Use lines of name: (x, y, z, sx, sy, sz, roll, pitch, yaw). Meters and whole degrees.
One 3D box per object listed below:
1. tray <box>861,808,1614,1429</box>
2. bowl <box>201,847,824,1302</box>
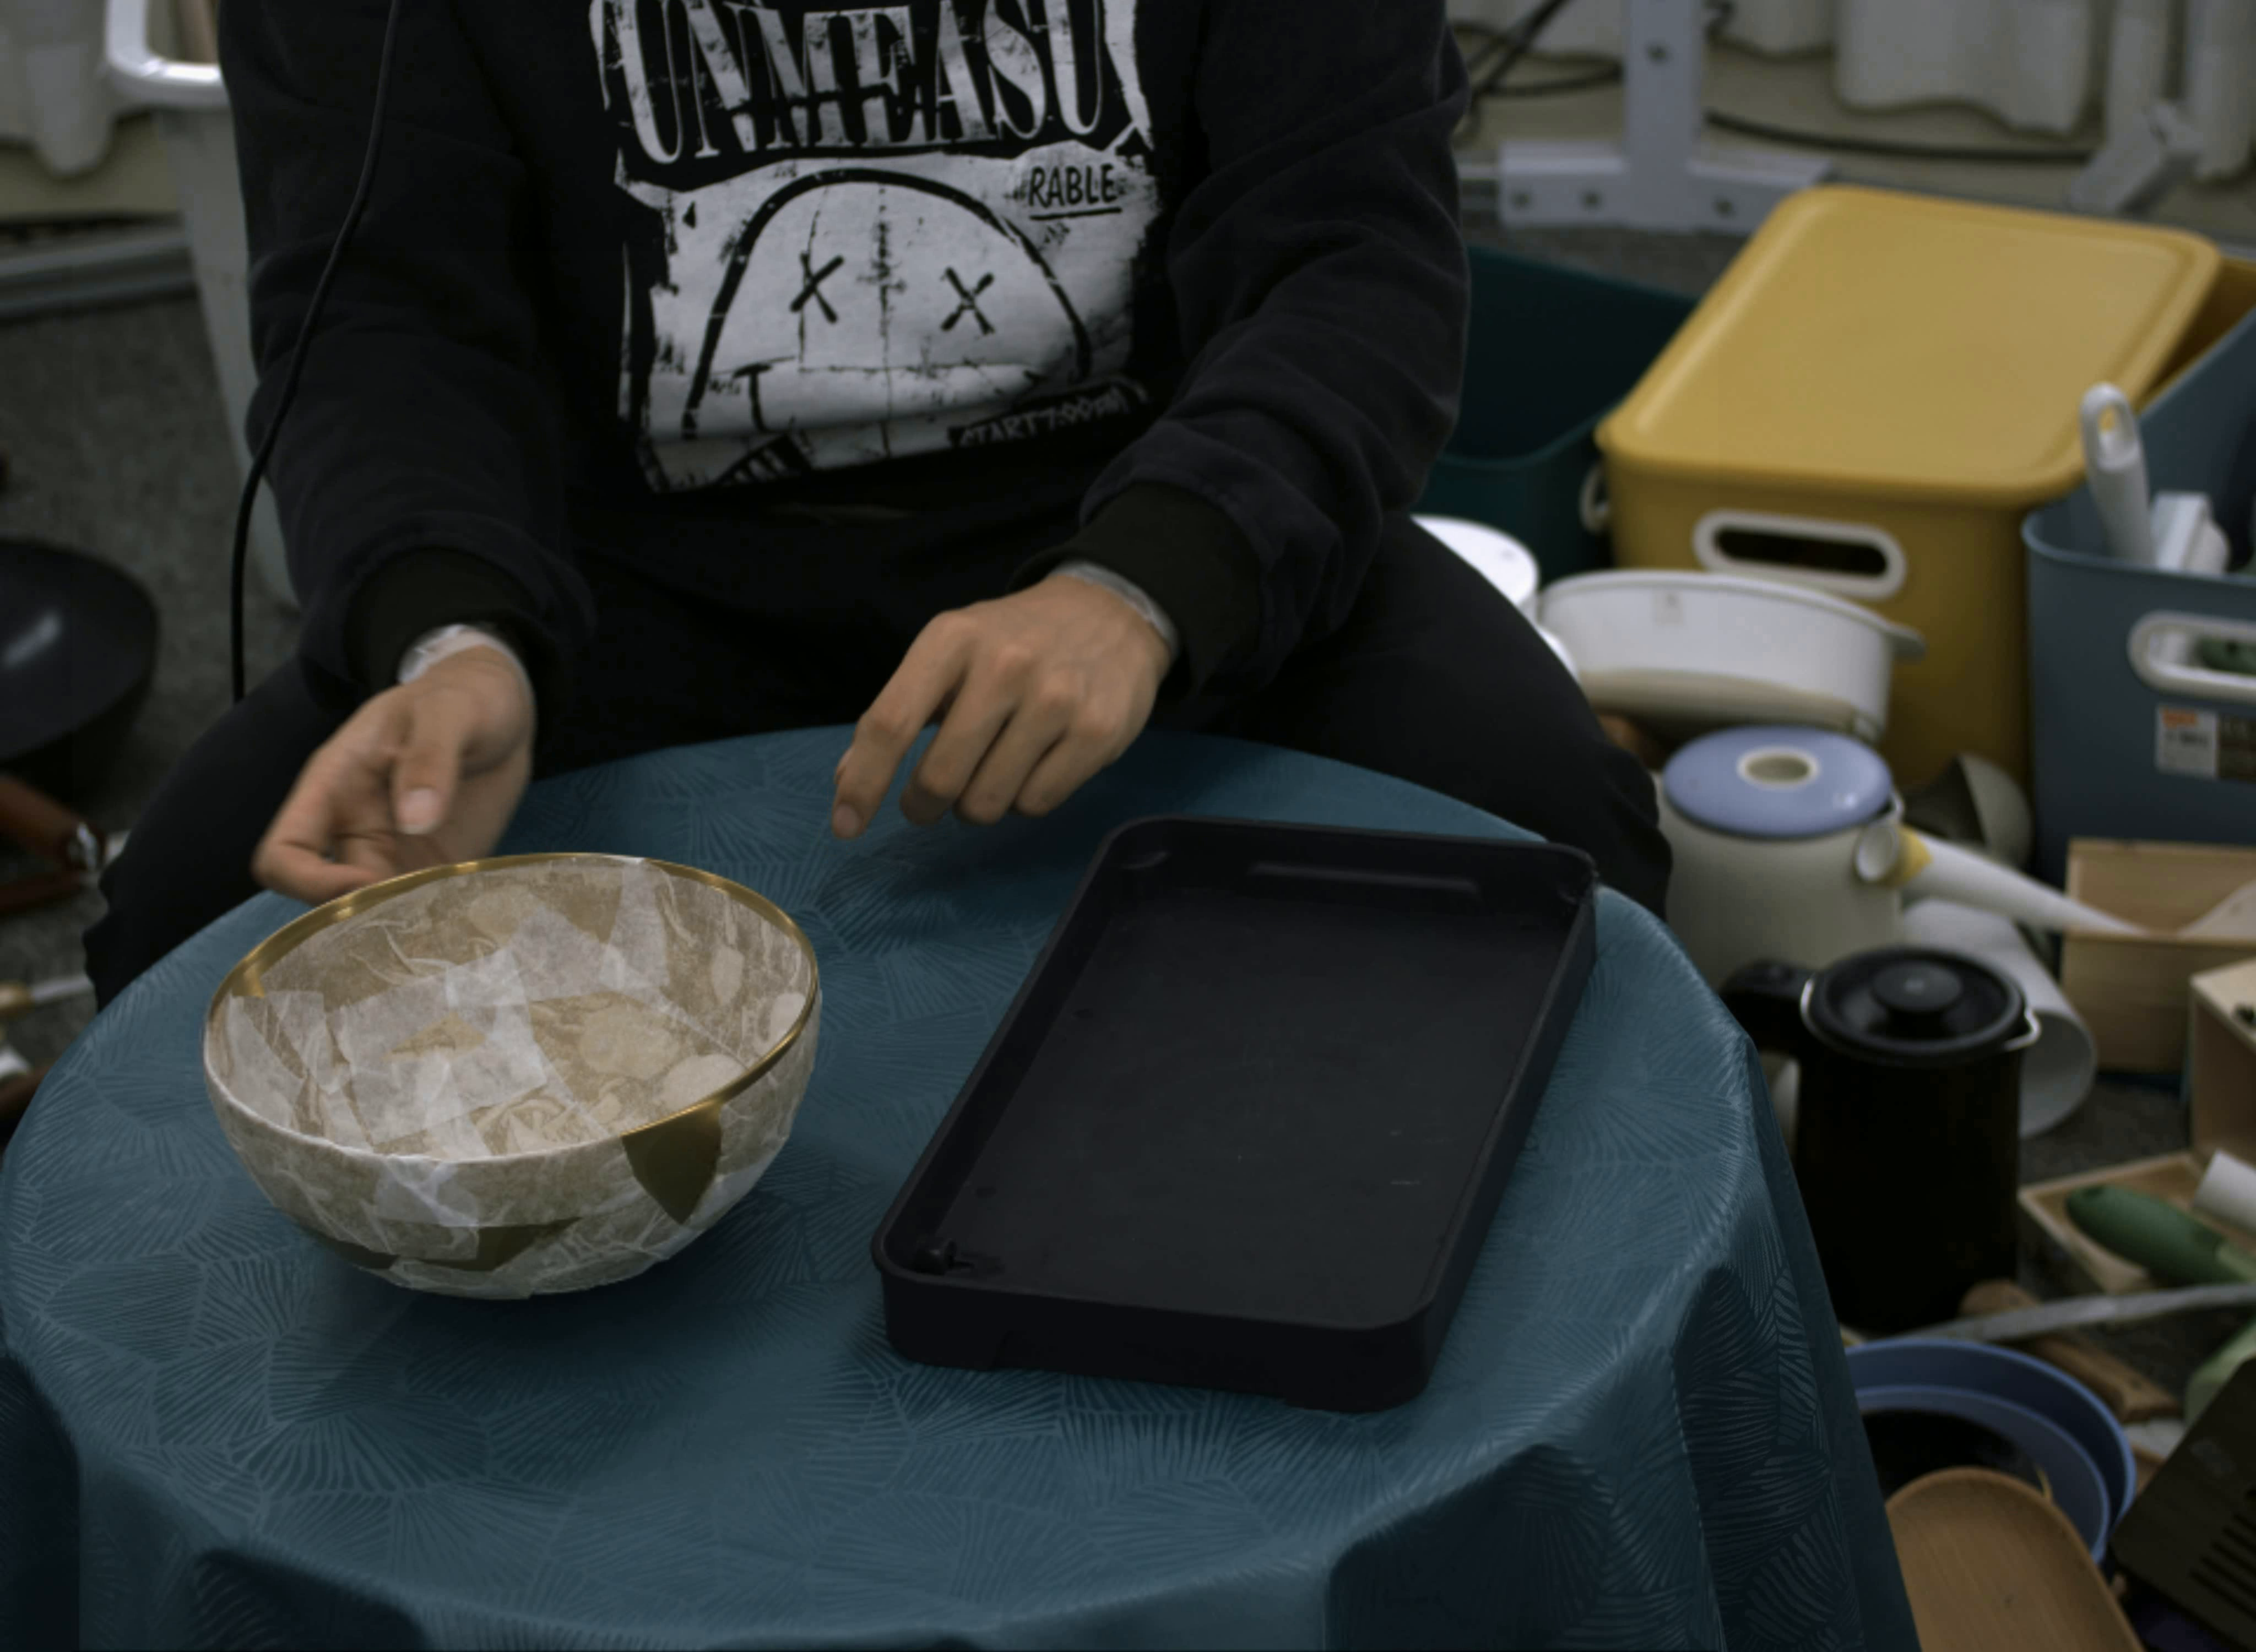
tray: (0.044, 0.091, 1.882, 0.183, 0.036, 0.323, 6, 30, 16)
bowl: (-0.193, 0.093, 1.836, 0.213, 0.093, 0.218, -3, 27, 2)
